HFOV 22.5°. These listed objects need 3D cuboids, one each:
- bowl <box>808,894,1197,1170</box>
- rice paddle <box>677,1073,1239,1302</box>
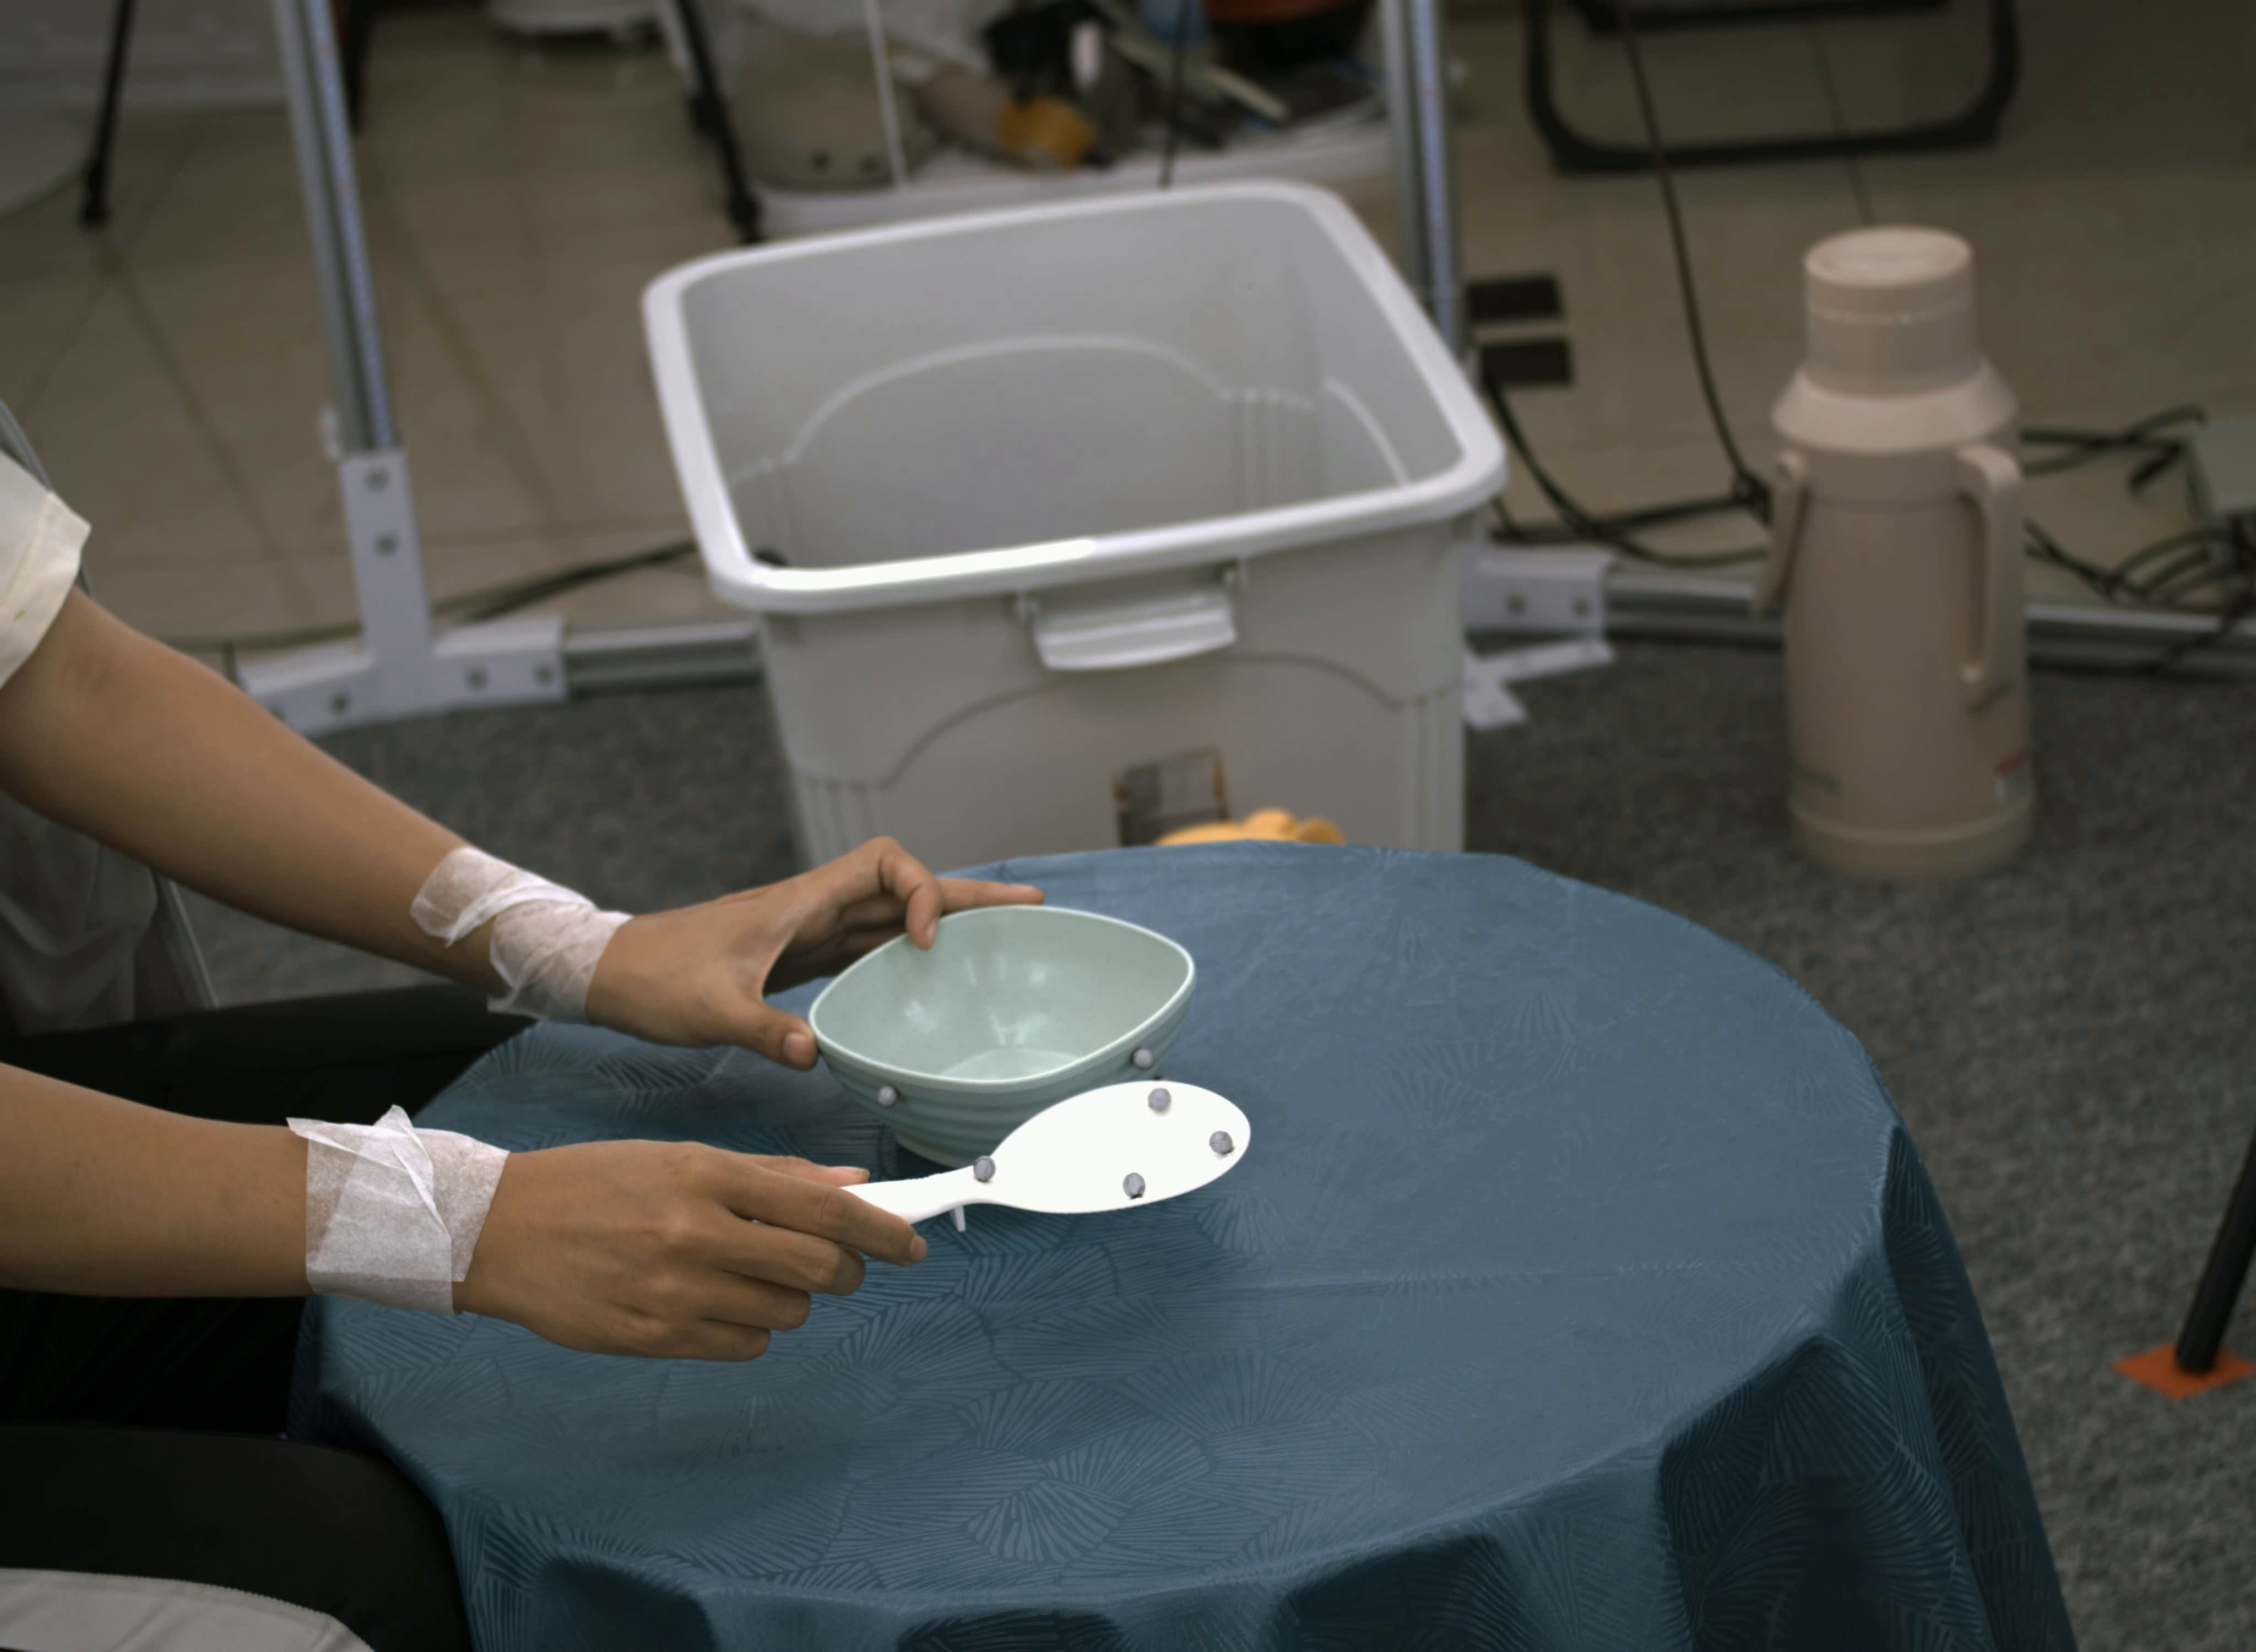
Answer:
[{"bbox_3d":[-0.046,0.088,2.199,0.151,0.059,0.149,-4,29,2],"label":"bowl"},{"bbox_3d":[-0.058,0.126,2.006,0.204,0.030,0.067,-15,40,-12],"label":"rice paddle"}]
